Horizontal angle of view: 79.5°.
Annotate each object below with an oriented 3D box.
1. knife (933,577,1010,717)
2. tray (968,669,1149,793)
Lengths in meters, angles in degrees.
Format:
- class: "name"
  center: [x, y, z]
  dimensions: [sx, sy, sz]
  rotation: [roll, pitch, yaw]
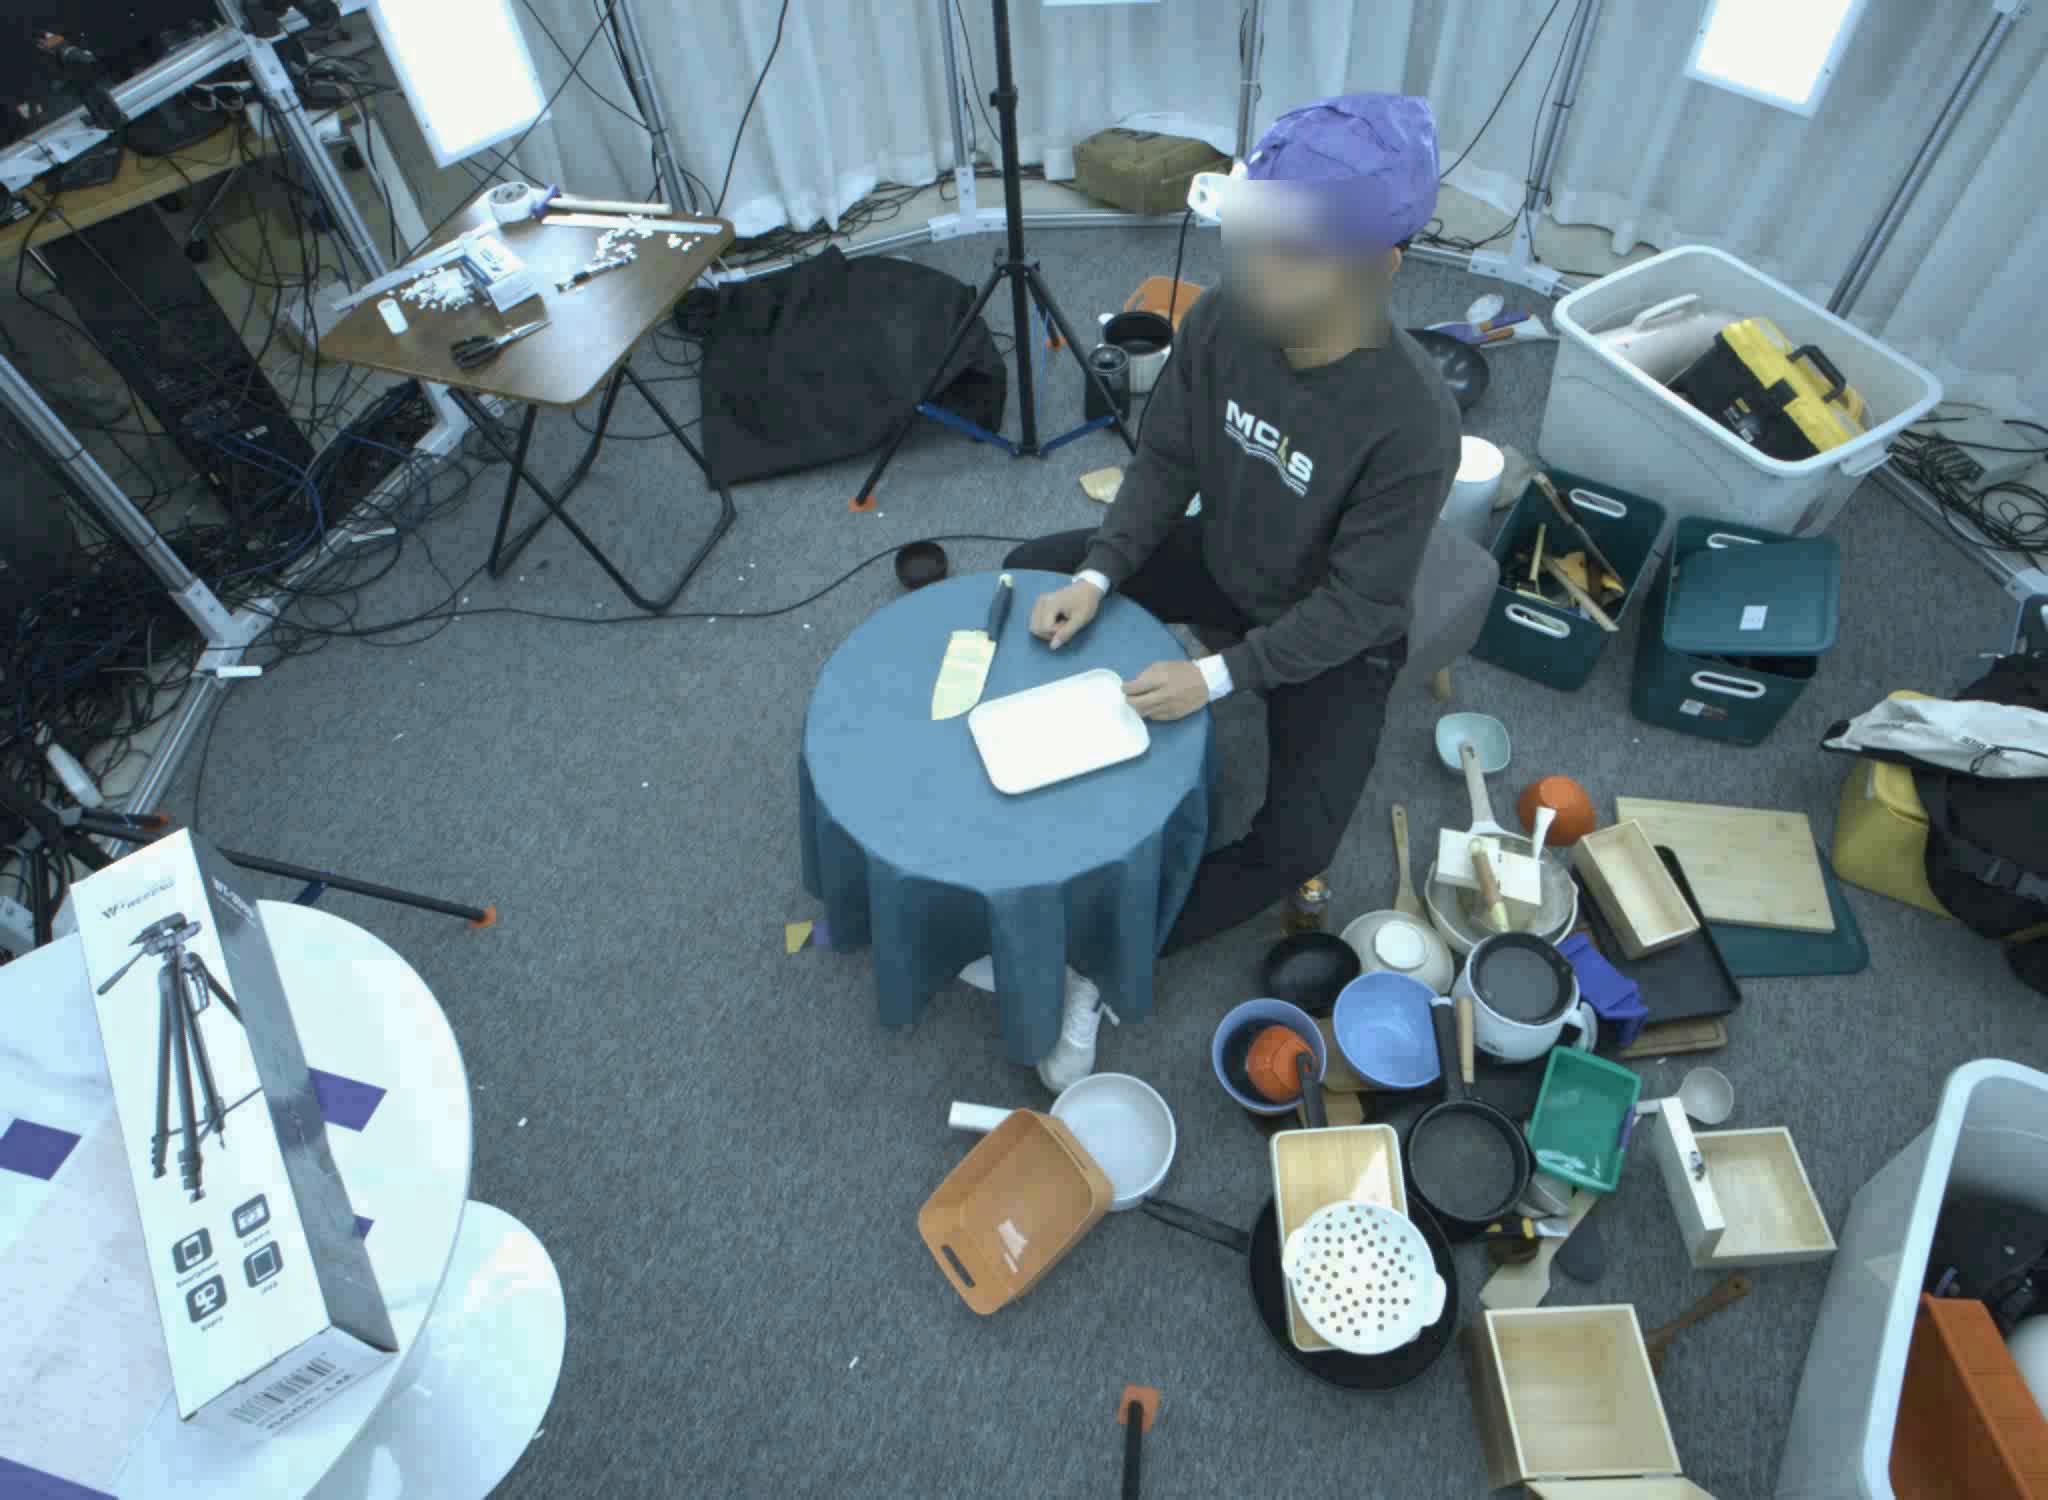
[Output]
- class: "knife"
  center: [-0.079, -0.162, 1.904]
  dimensions: [0.080, 0.027, 0.288]
  rotation: [13, 57, 9]
- class: "tray"
  center: [0.050, -0.029, 1.803]
  dimensions: [0.241, 0.017, 0.168]
  rotation: [-17, 55, -11]
